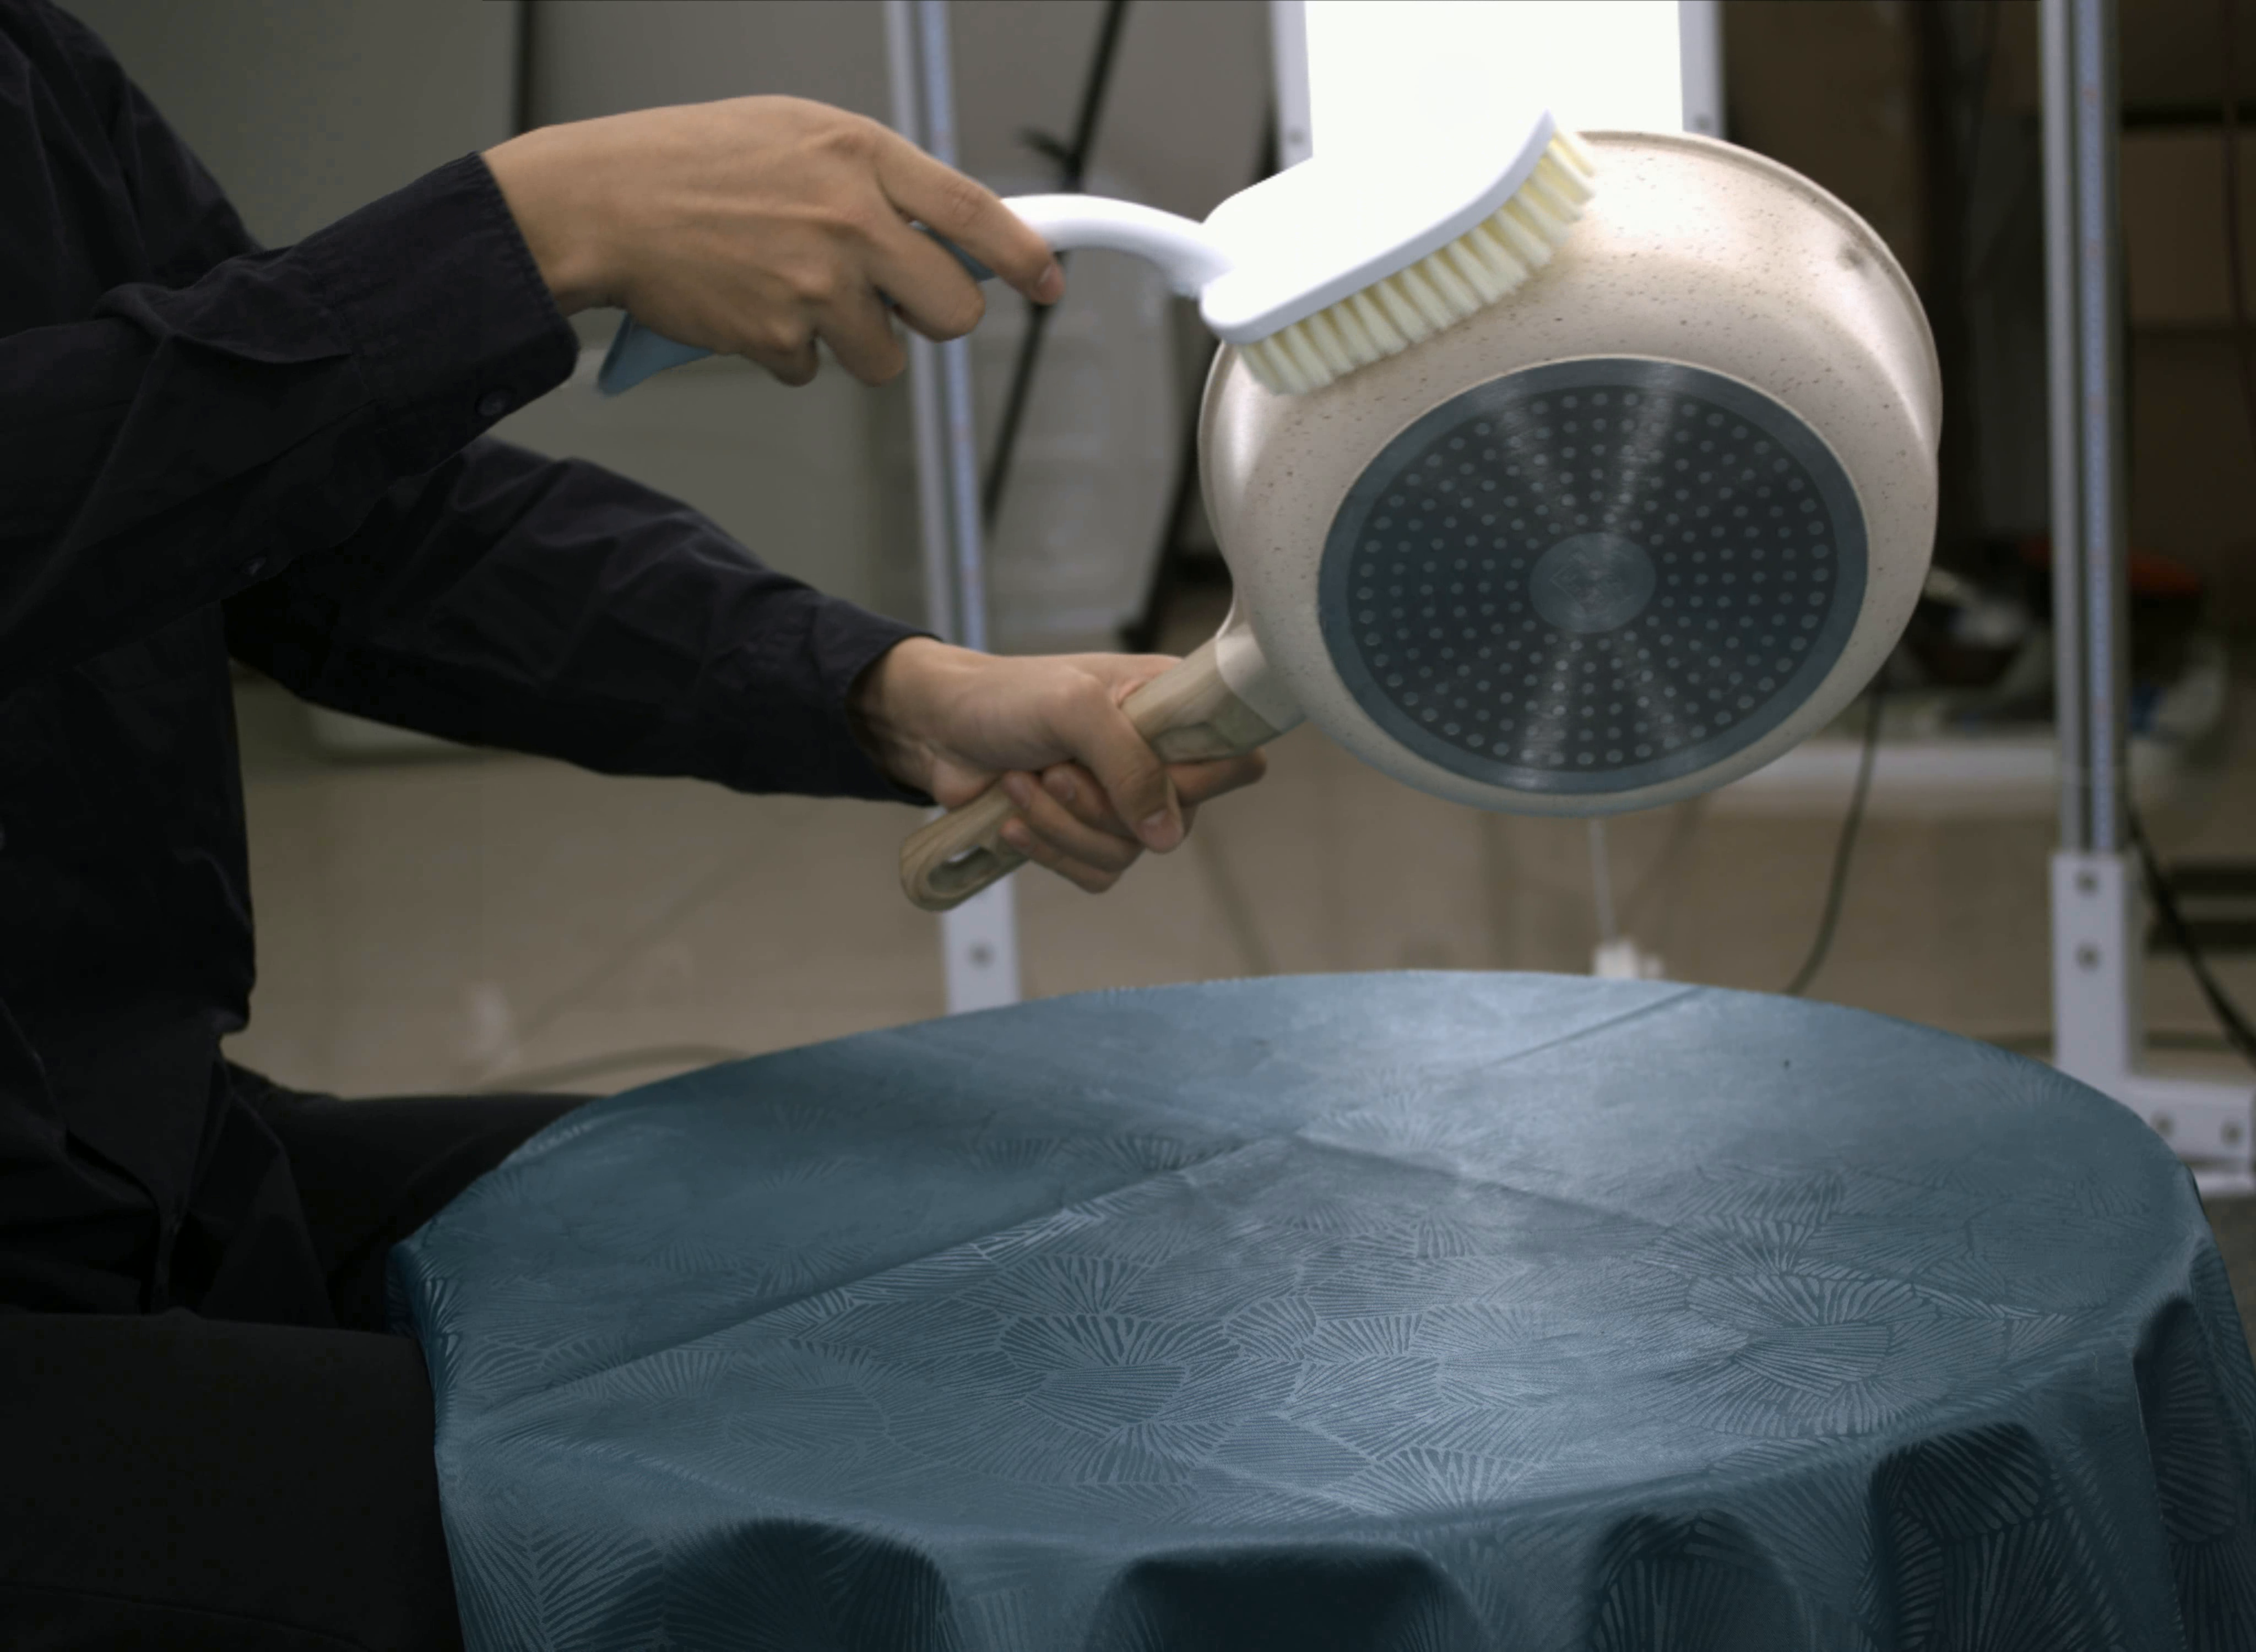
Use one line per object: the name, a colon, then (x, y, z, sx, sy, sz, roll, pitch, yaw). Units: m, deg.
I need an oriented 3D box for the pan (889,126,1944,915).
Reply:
pan: (0.085, -0.062, 1.863, 0.442, 0.259, 0.102, -35, 34, 26)

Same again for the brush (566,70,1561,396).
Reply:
brush: (-0.017, -0.166, 1.748, 0.328, 0.085, 0.082, -15, 3, 12)
